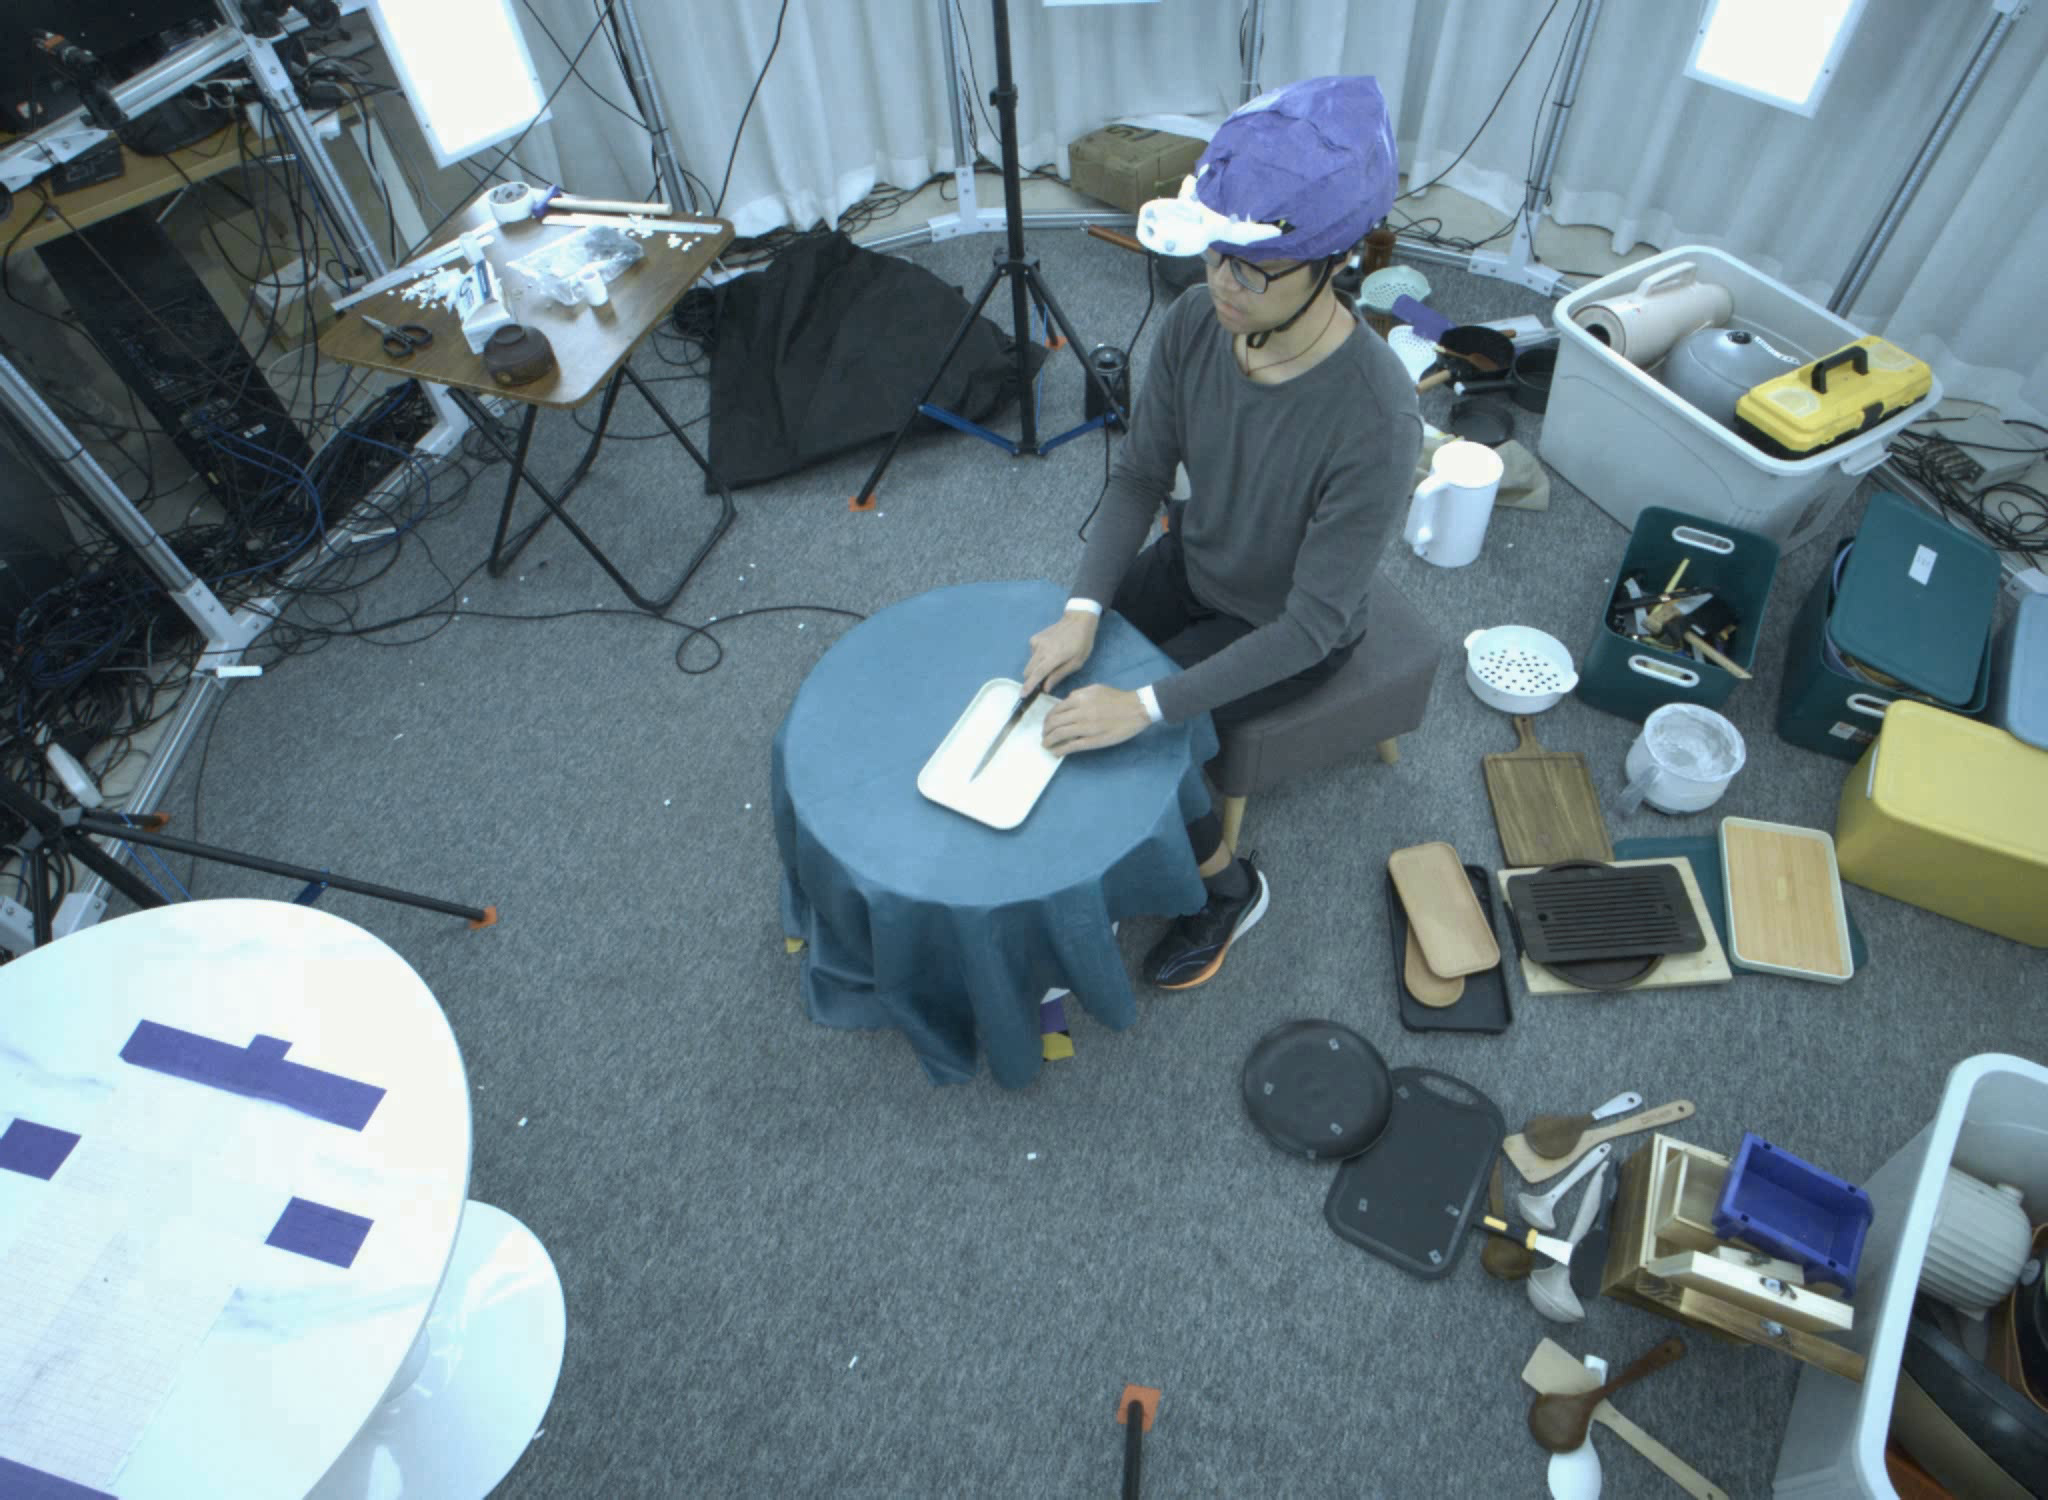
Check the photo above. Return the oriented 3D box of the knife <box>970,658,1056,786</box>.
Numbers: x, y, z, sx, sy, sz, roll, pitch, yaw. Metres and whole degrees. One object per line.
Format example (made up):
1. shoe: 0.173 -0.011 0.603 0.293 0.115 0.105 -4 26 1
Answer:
1. knife: -0.018 -0.044 1.797 0.016 0.025 0.238 18 64 34

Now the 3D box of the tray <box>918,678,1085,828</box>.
1. tray: -0.030 0.003 1.783 0.169 0.017 0.240 23 58 18
